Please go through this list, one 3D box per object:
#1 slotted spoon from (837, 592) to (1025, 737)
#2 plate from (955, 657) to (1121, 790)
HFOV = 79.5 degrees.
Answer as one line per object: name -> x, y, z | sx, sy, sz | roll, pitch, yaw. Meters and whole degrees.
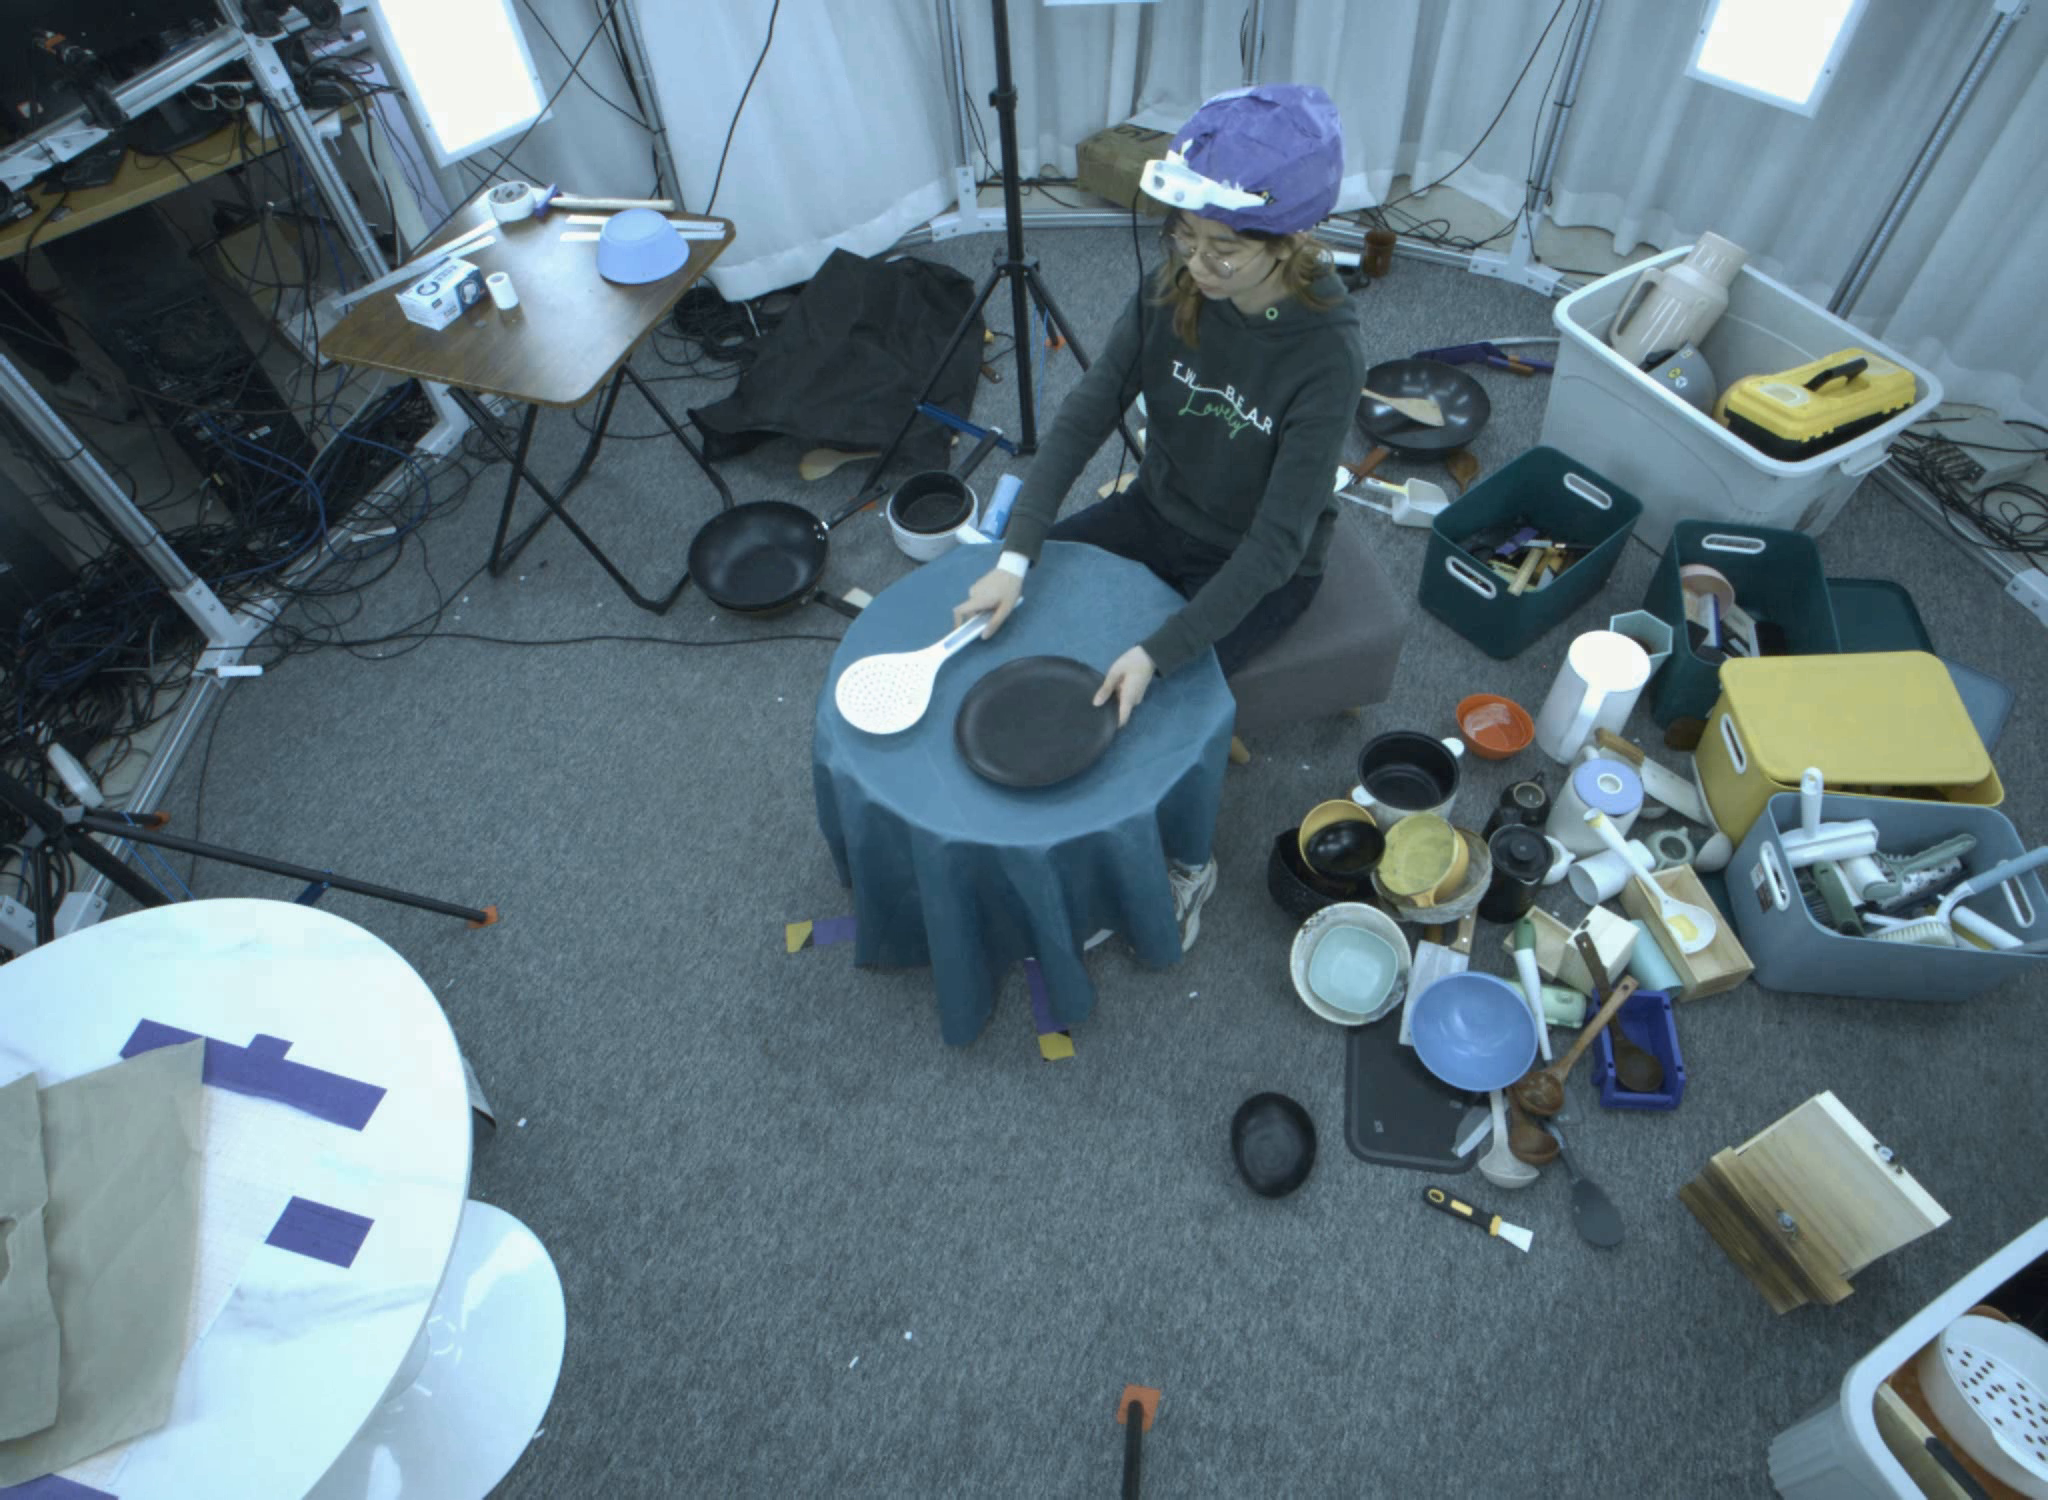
slotted spoon -> -0.132, -0.139, 1.861 | 0.352, 0.046, 0.134 | -41, 74, -20
plate -> 0.021, -0.036, 1.797 | 0.243, 0.024, 0.242 | -4, 54, 7
